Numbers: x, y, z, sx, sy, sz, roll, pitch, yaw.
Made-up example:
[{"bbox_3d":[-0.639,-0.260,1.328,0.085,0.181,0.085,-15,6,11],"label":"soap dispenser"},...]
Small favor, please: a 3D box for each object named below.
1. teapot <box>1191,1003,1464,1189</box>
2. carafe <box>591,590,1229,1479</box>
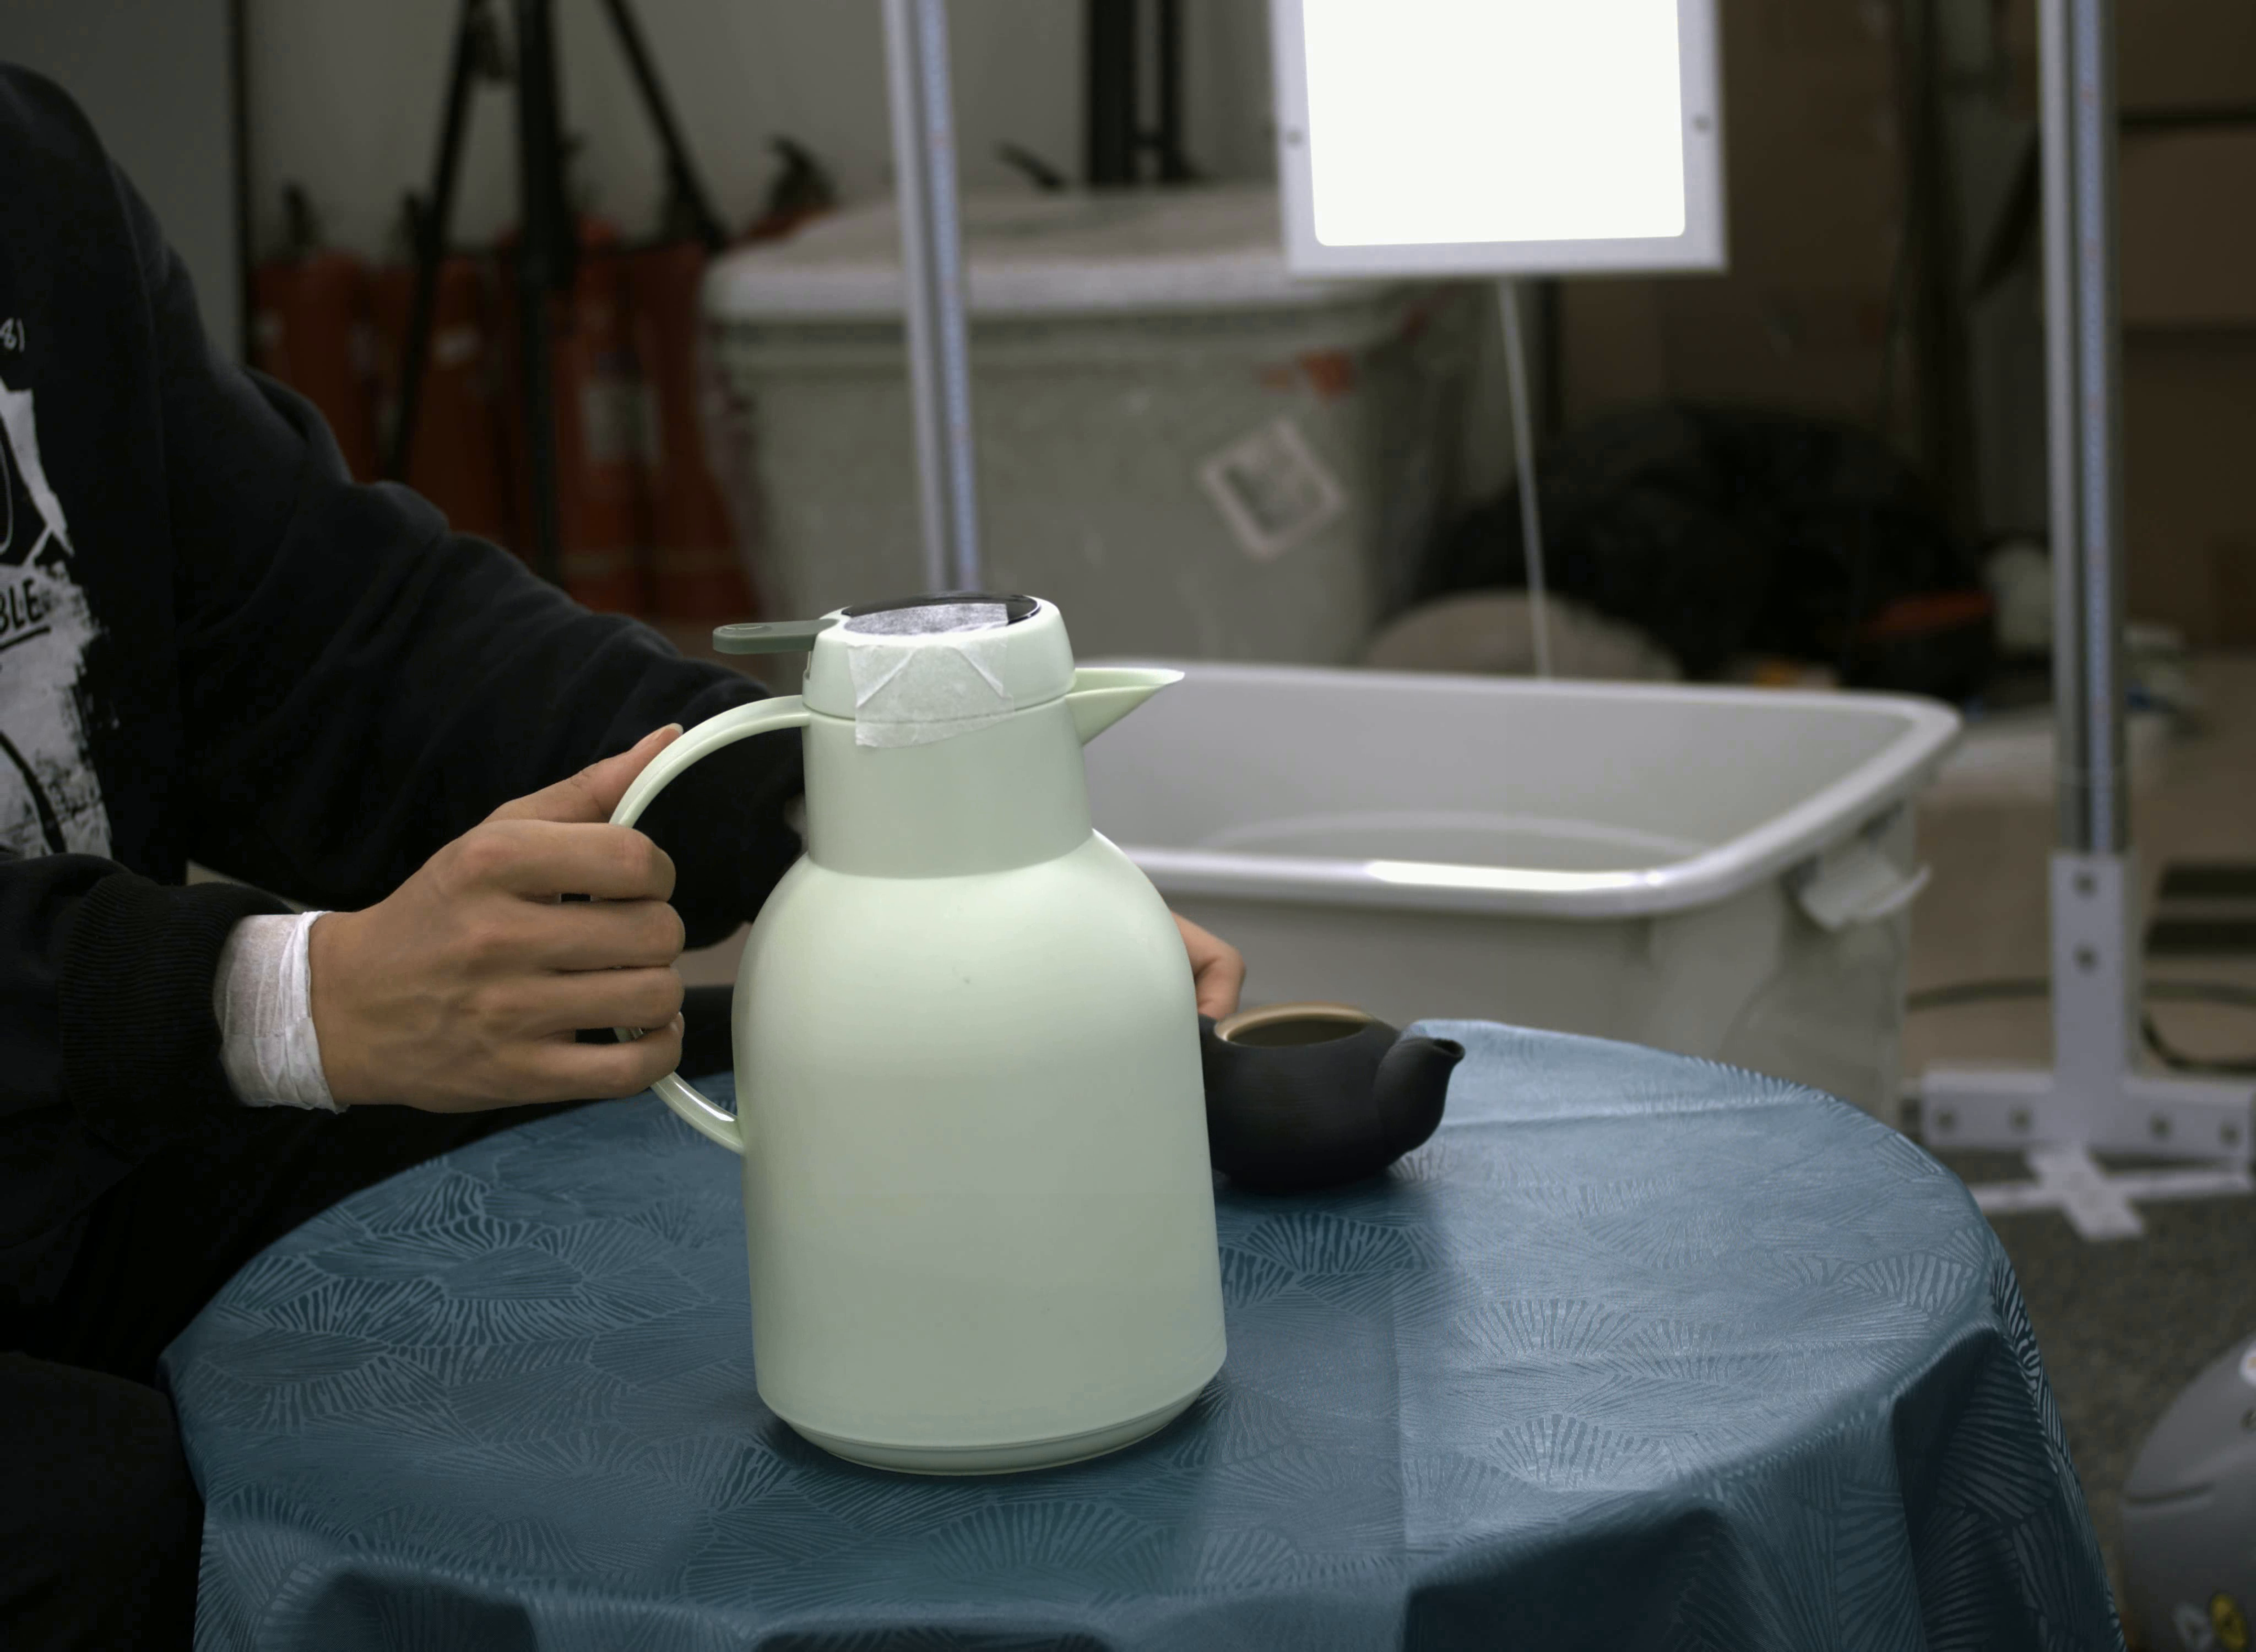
[{"bbox_3d":[0.060,0.093,1.901,0.136,0.053,0.089,5,16,36],"label":"teapot"},{"bbox_3d":[-0.064,0.060,1.668,0.186,0.257,0.144,-8,15,-3],"label":"carafe"}]
